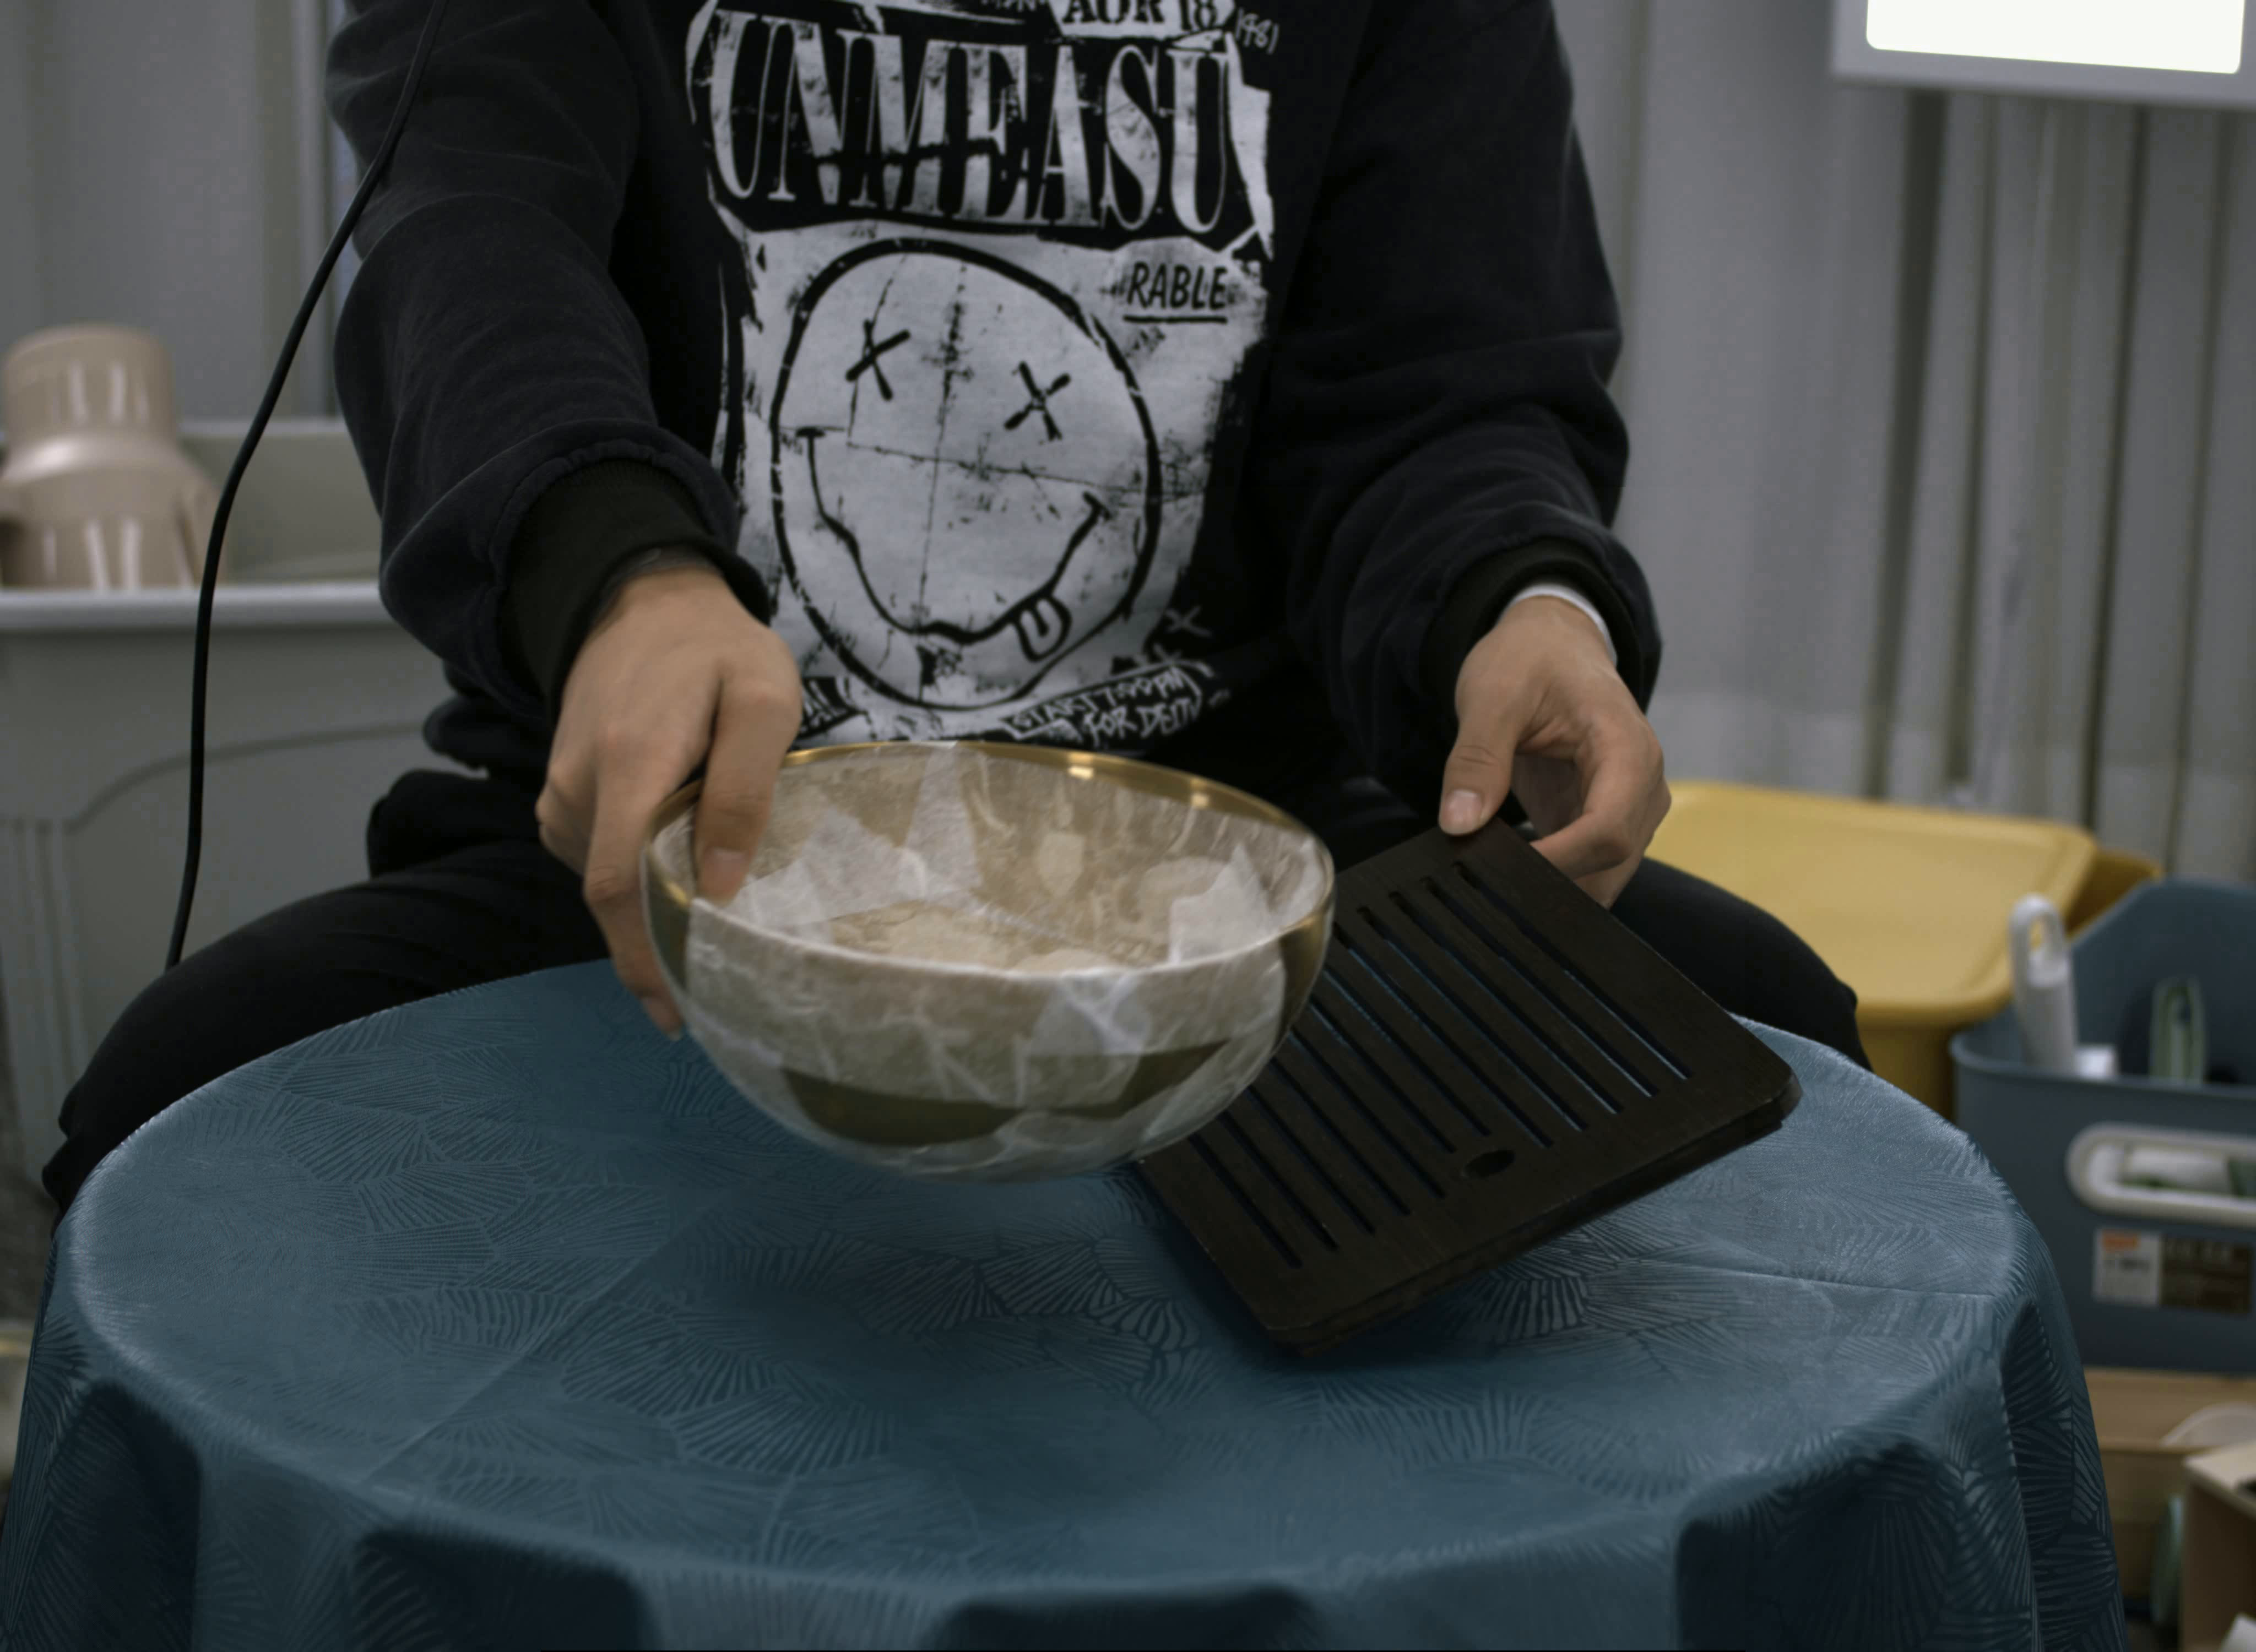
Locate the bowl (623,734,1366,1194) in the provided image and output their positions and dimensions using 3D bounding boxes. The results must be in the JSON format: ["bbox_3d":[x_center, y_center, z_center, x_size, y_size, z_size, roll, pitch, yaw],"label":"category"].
[{"bbox_3d":[-0.042,0.049,1.521,0.214,0.095,0.213,4,20,-1],"label":"bowl"}]

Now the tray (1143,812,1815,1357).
[{"bbox_3d":[0.086,0.075,1.623,0.170,0.019,0.303,-25,20,-7],"label":"tray"}]
